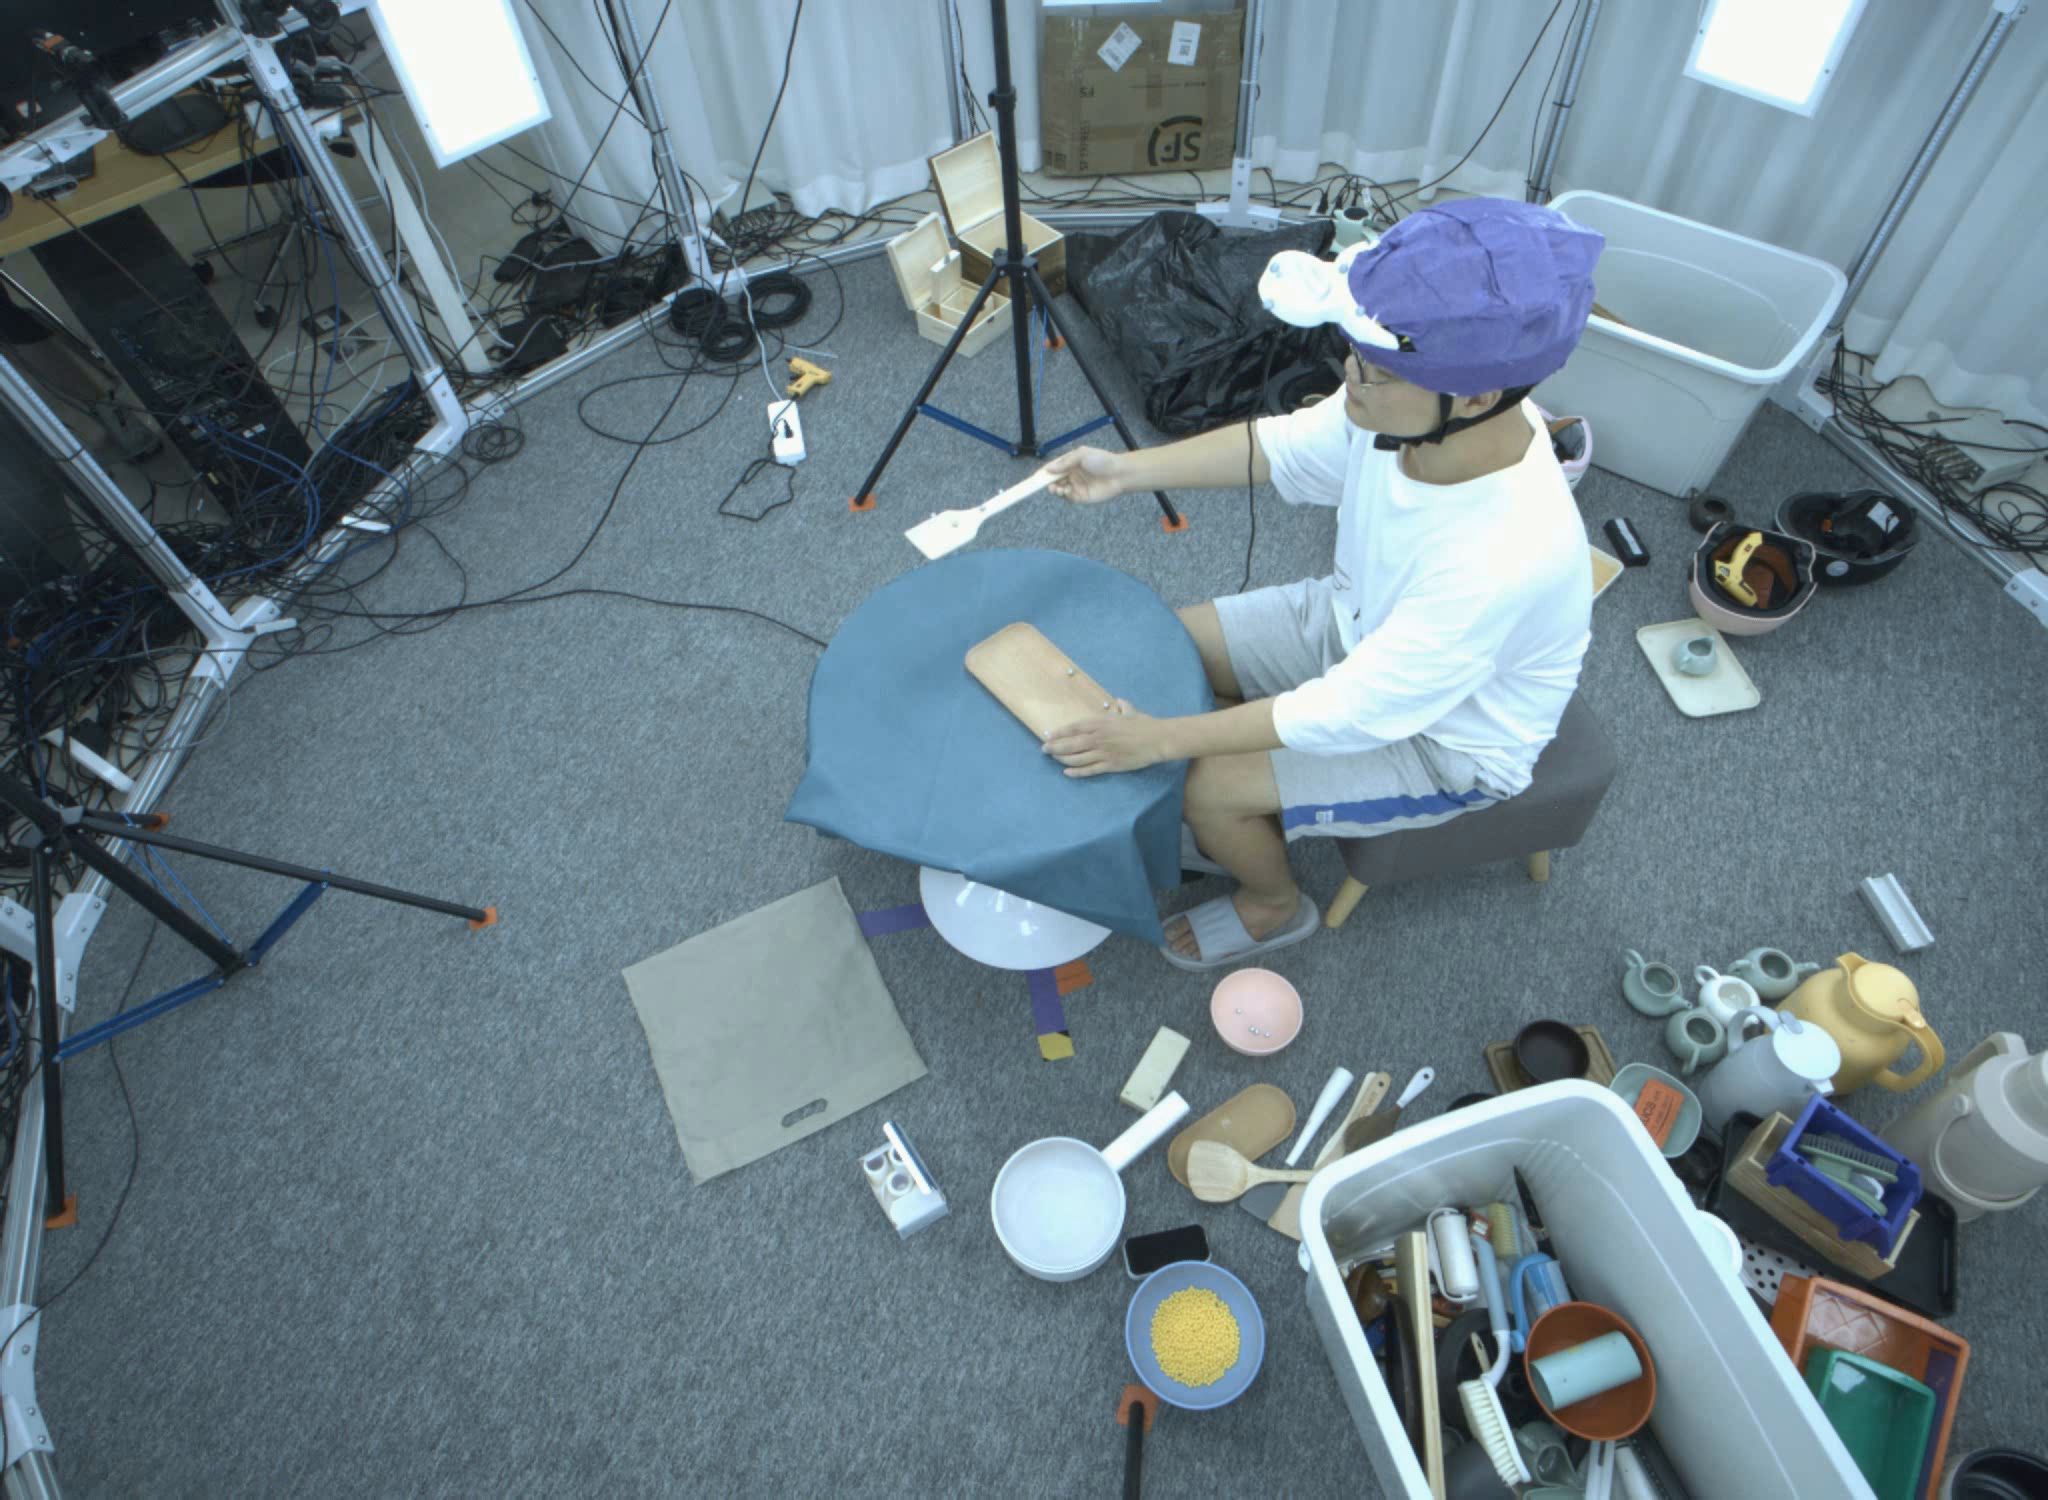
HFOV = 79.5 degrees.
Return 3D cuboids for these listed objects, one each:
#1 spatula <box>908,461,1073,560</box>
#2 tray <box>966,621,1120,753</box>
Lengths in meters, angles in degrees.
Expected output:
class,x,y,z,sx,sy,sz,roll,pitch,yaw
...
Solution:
class,x,y,z,sx,sy,sz,roll,pitch,yaw
spatula,-0.042,-0.369,1.836,0.295,0.011,0.071,-34,65,-24
tray,0.026,-0.097,1.844,0.132,0.023,0.246,-31,59,-22
